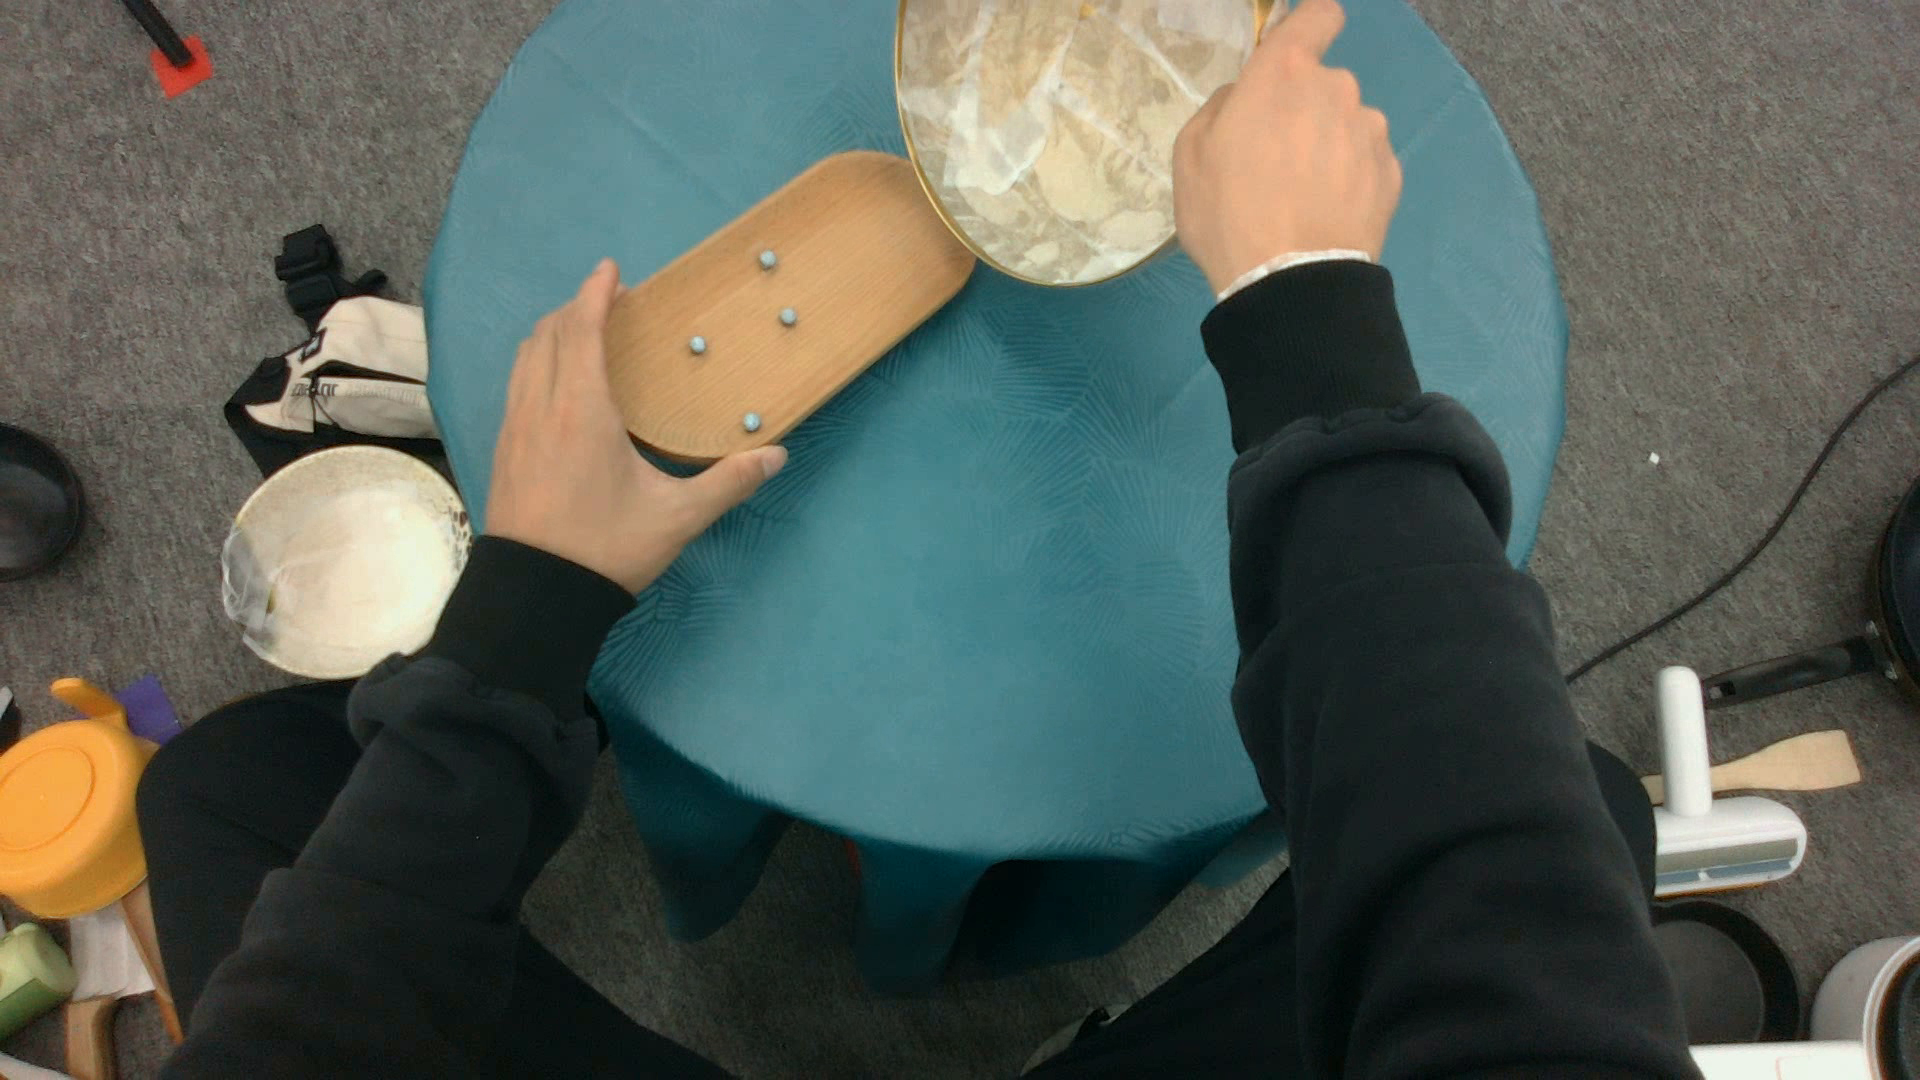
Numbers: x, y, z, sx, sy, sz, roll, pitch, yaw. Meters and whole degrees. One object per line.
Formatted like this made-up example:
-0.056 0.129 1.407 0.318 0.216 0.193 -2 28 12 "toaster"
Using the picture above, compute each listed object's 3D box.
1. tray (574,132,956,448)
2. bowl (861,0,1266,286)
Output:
-0.090 -0.128 0.683 0.101 0.020 0.232 41 58 5 "tray"
0.060 -0.227 0.648 0.095 0.213 0.215 -20 71 -48 "bowl"
